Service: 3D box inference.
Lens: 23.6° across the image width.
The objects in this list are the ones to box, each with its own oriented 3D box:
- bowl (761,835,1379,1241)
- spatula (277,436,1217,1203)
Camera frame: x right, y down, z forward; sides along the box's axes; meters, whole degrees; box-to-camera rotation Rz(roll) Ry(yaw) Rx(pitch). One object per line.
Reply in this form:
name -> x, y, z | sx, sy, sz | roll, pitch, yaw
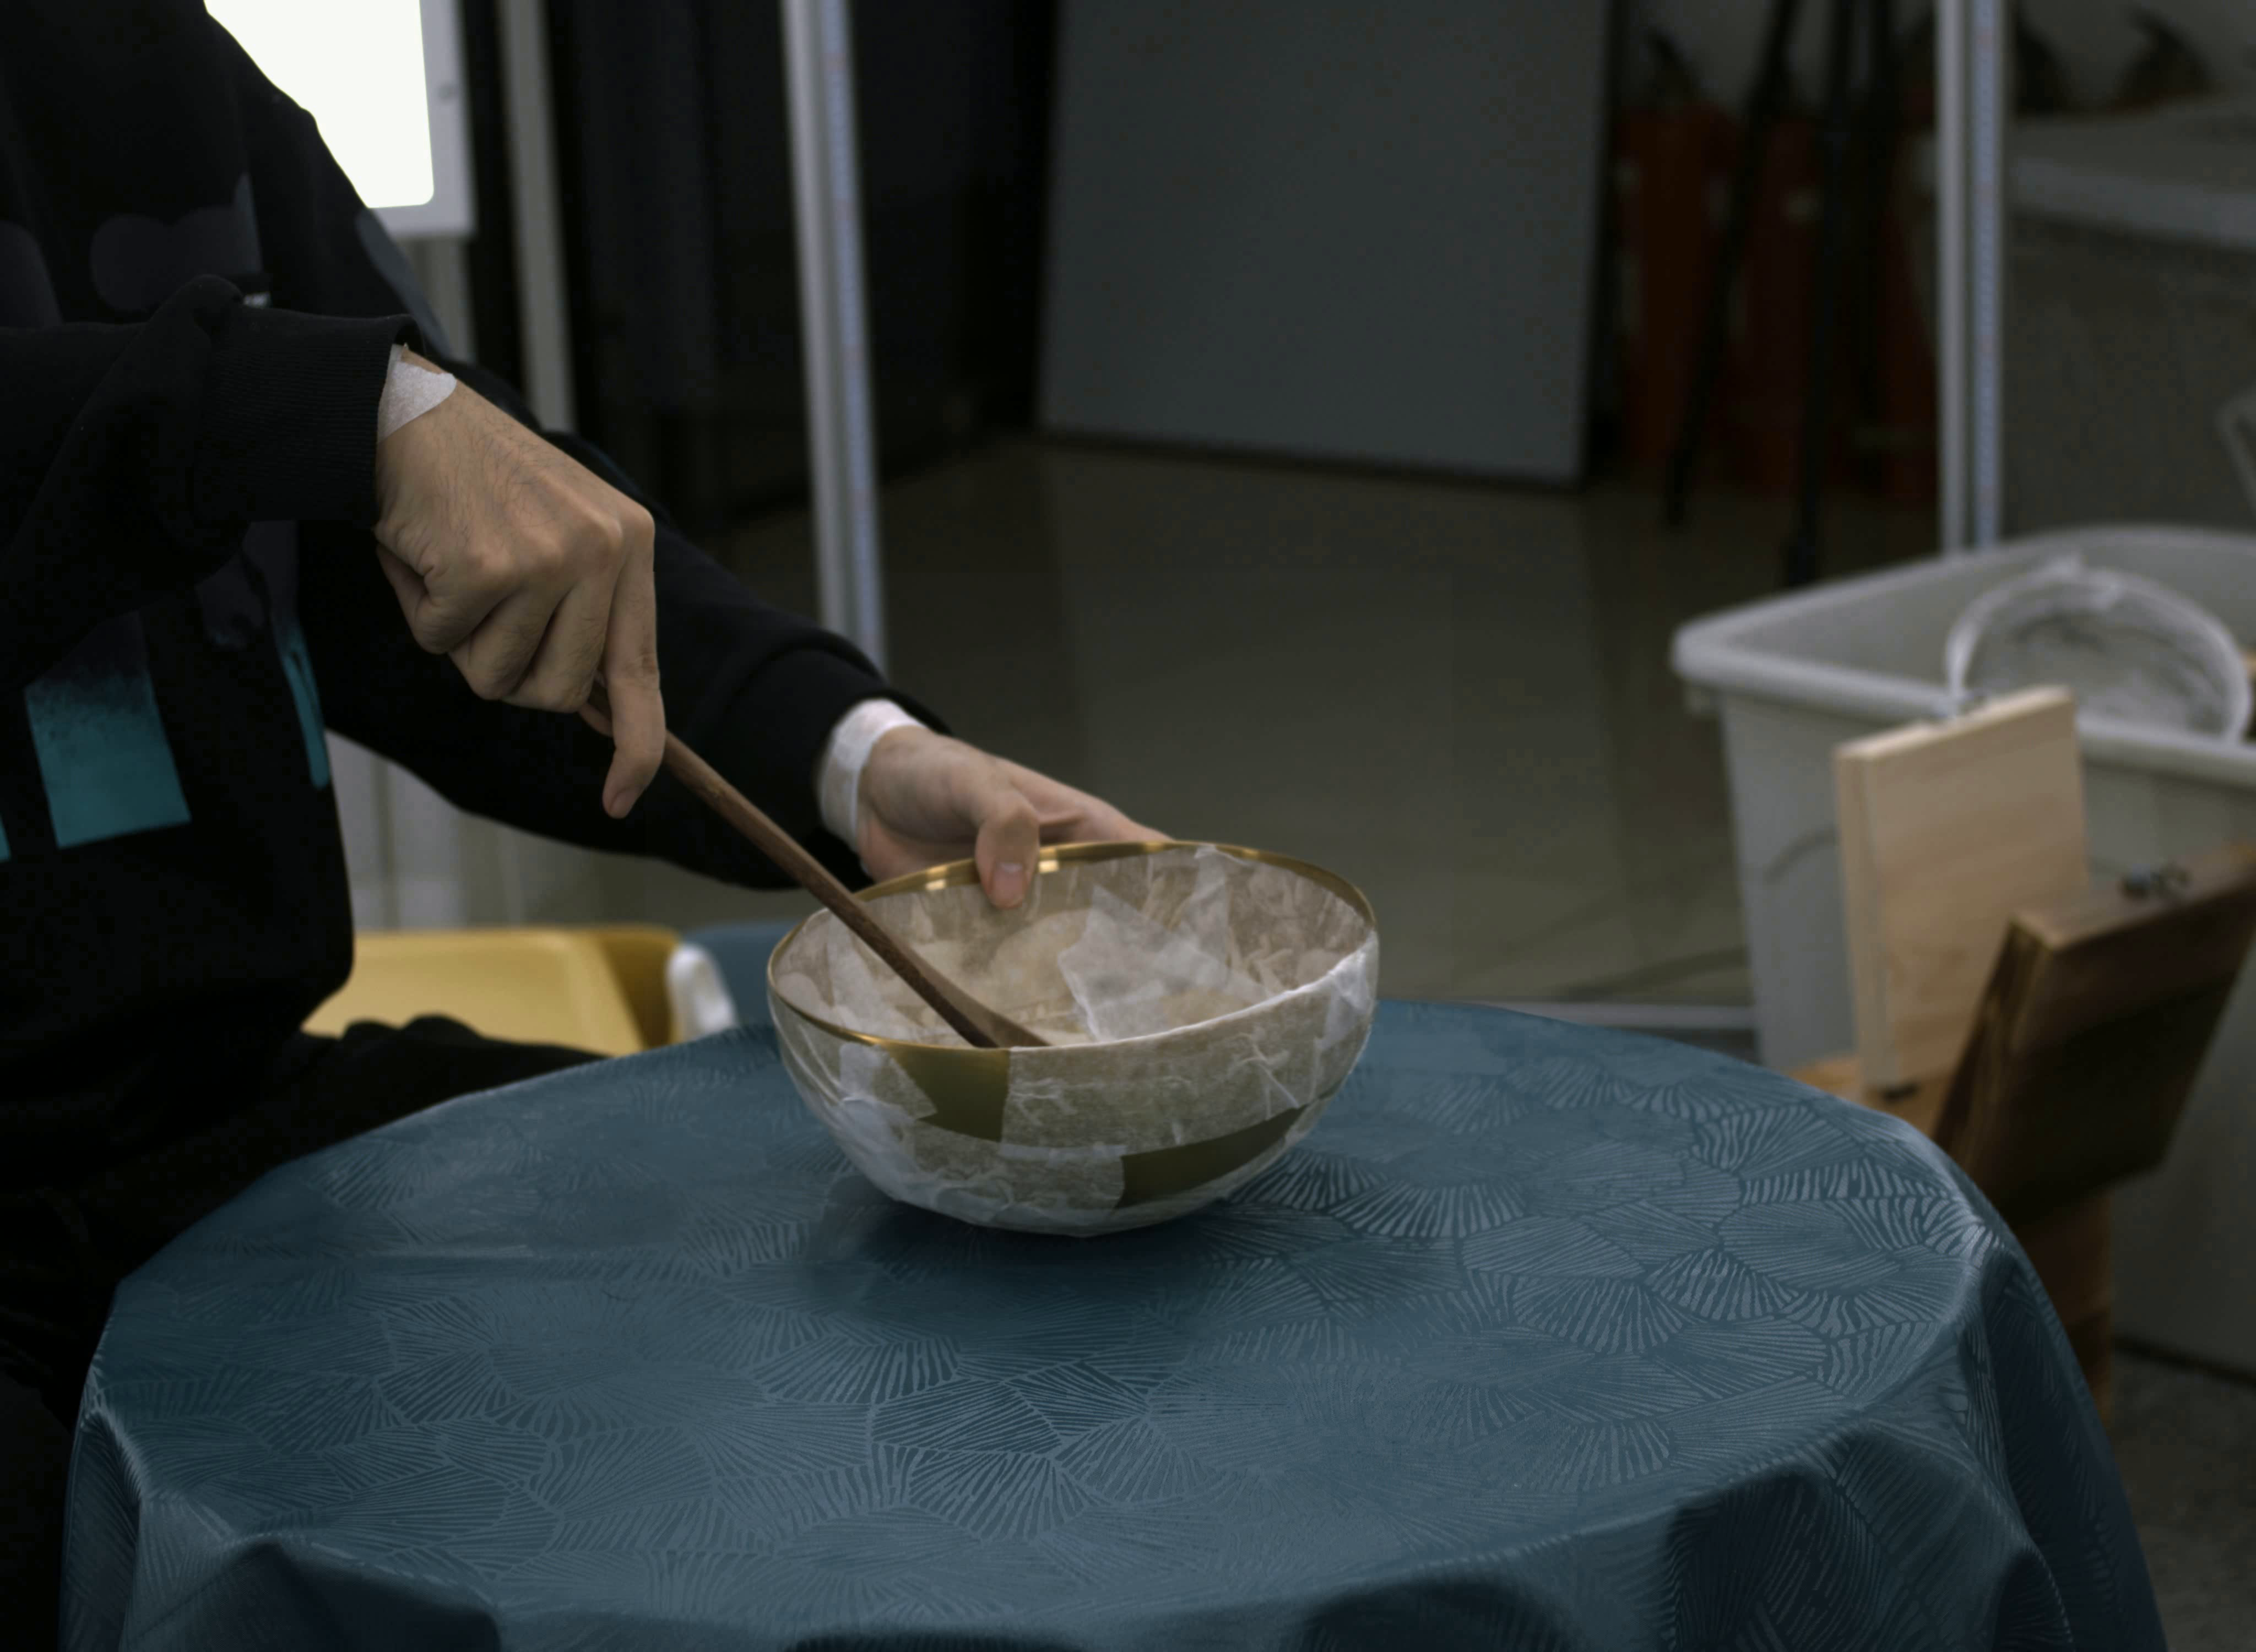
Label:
bowl -> -0.015, 0.077, 1.752 | 0.212, 0.095, 0.215 | -8, 17, 2
spatula -> -0.120, -0.003, 1.734 | 0.385, 0.016, 0.096 | 40, 6, 0
